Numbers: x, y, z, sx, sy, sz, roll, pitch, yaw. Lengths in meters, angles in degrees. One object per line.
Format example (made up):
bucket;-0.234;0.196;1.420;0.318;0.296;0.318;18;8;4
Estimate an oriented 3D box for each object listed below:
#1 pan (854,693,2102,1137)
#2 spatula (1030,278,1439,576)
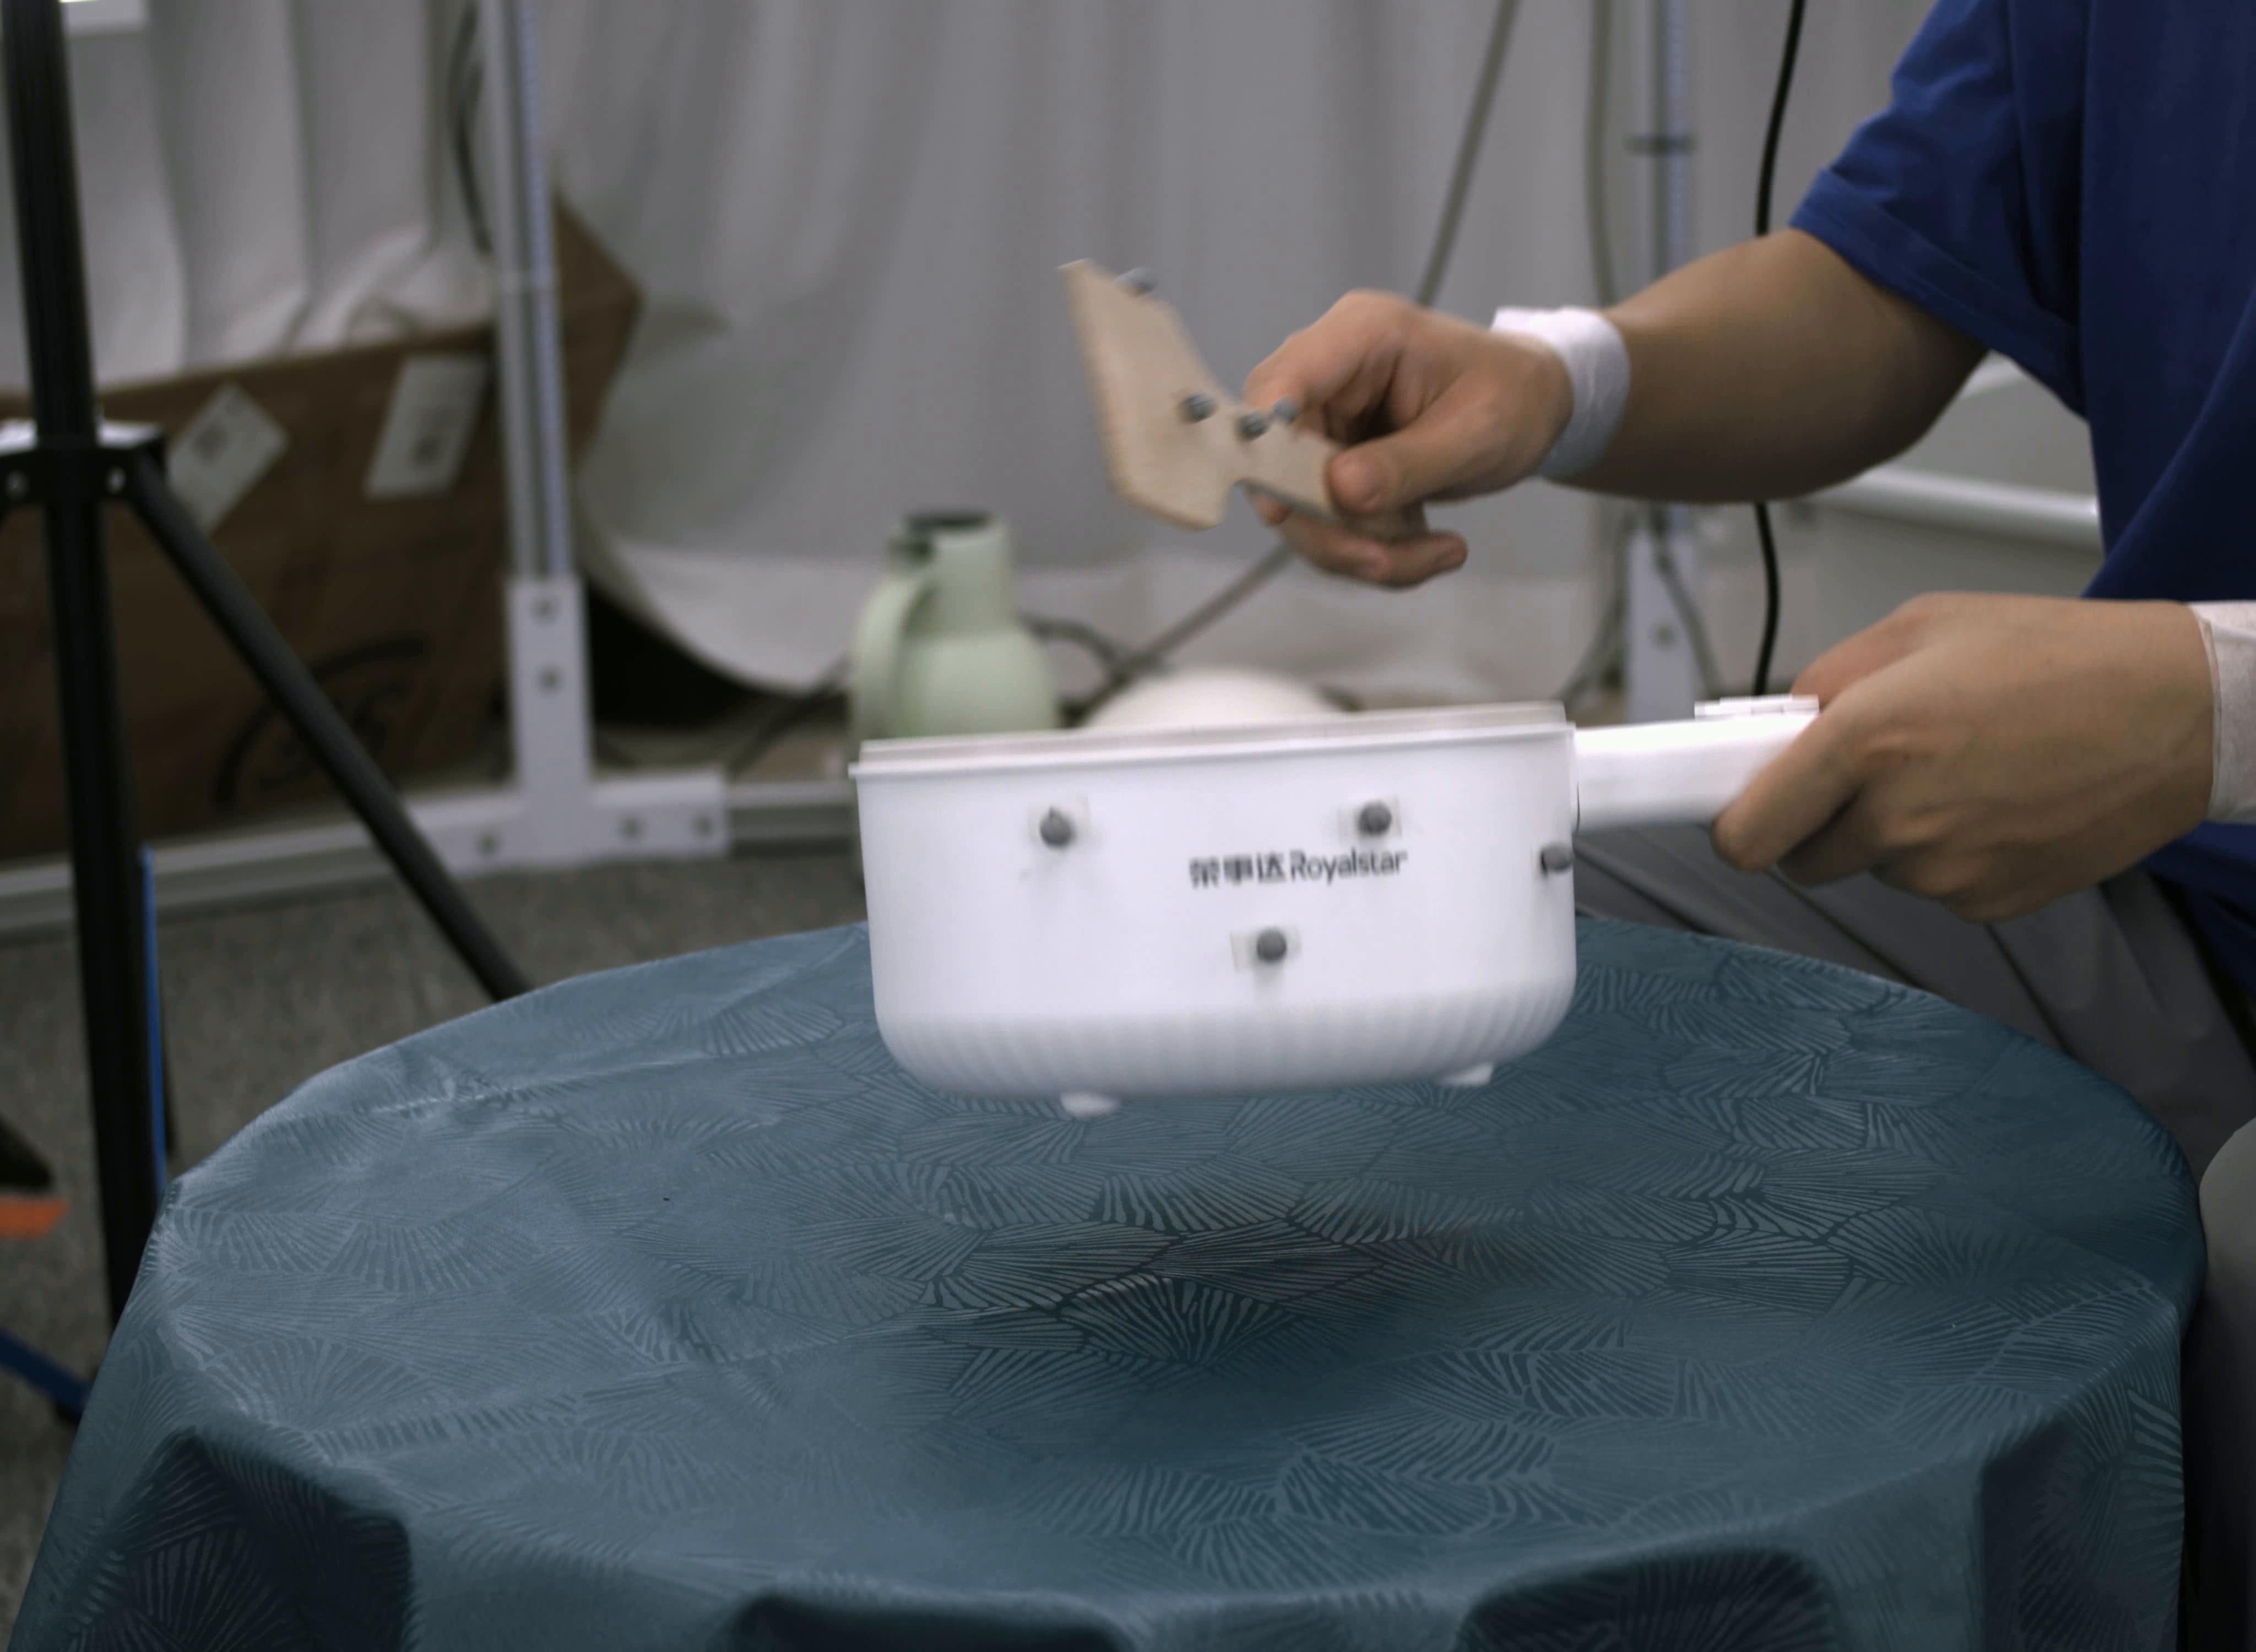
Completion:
pan;0.102;0.024;1.475;0.350;0.102;0.203;-4;-1;-12
spatula;0.038;-0.108;1.614;0.011;0.073;0.287;-21;-14;21
